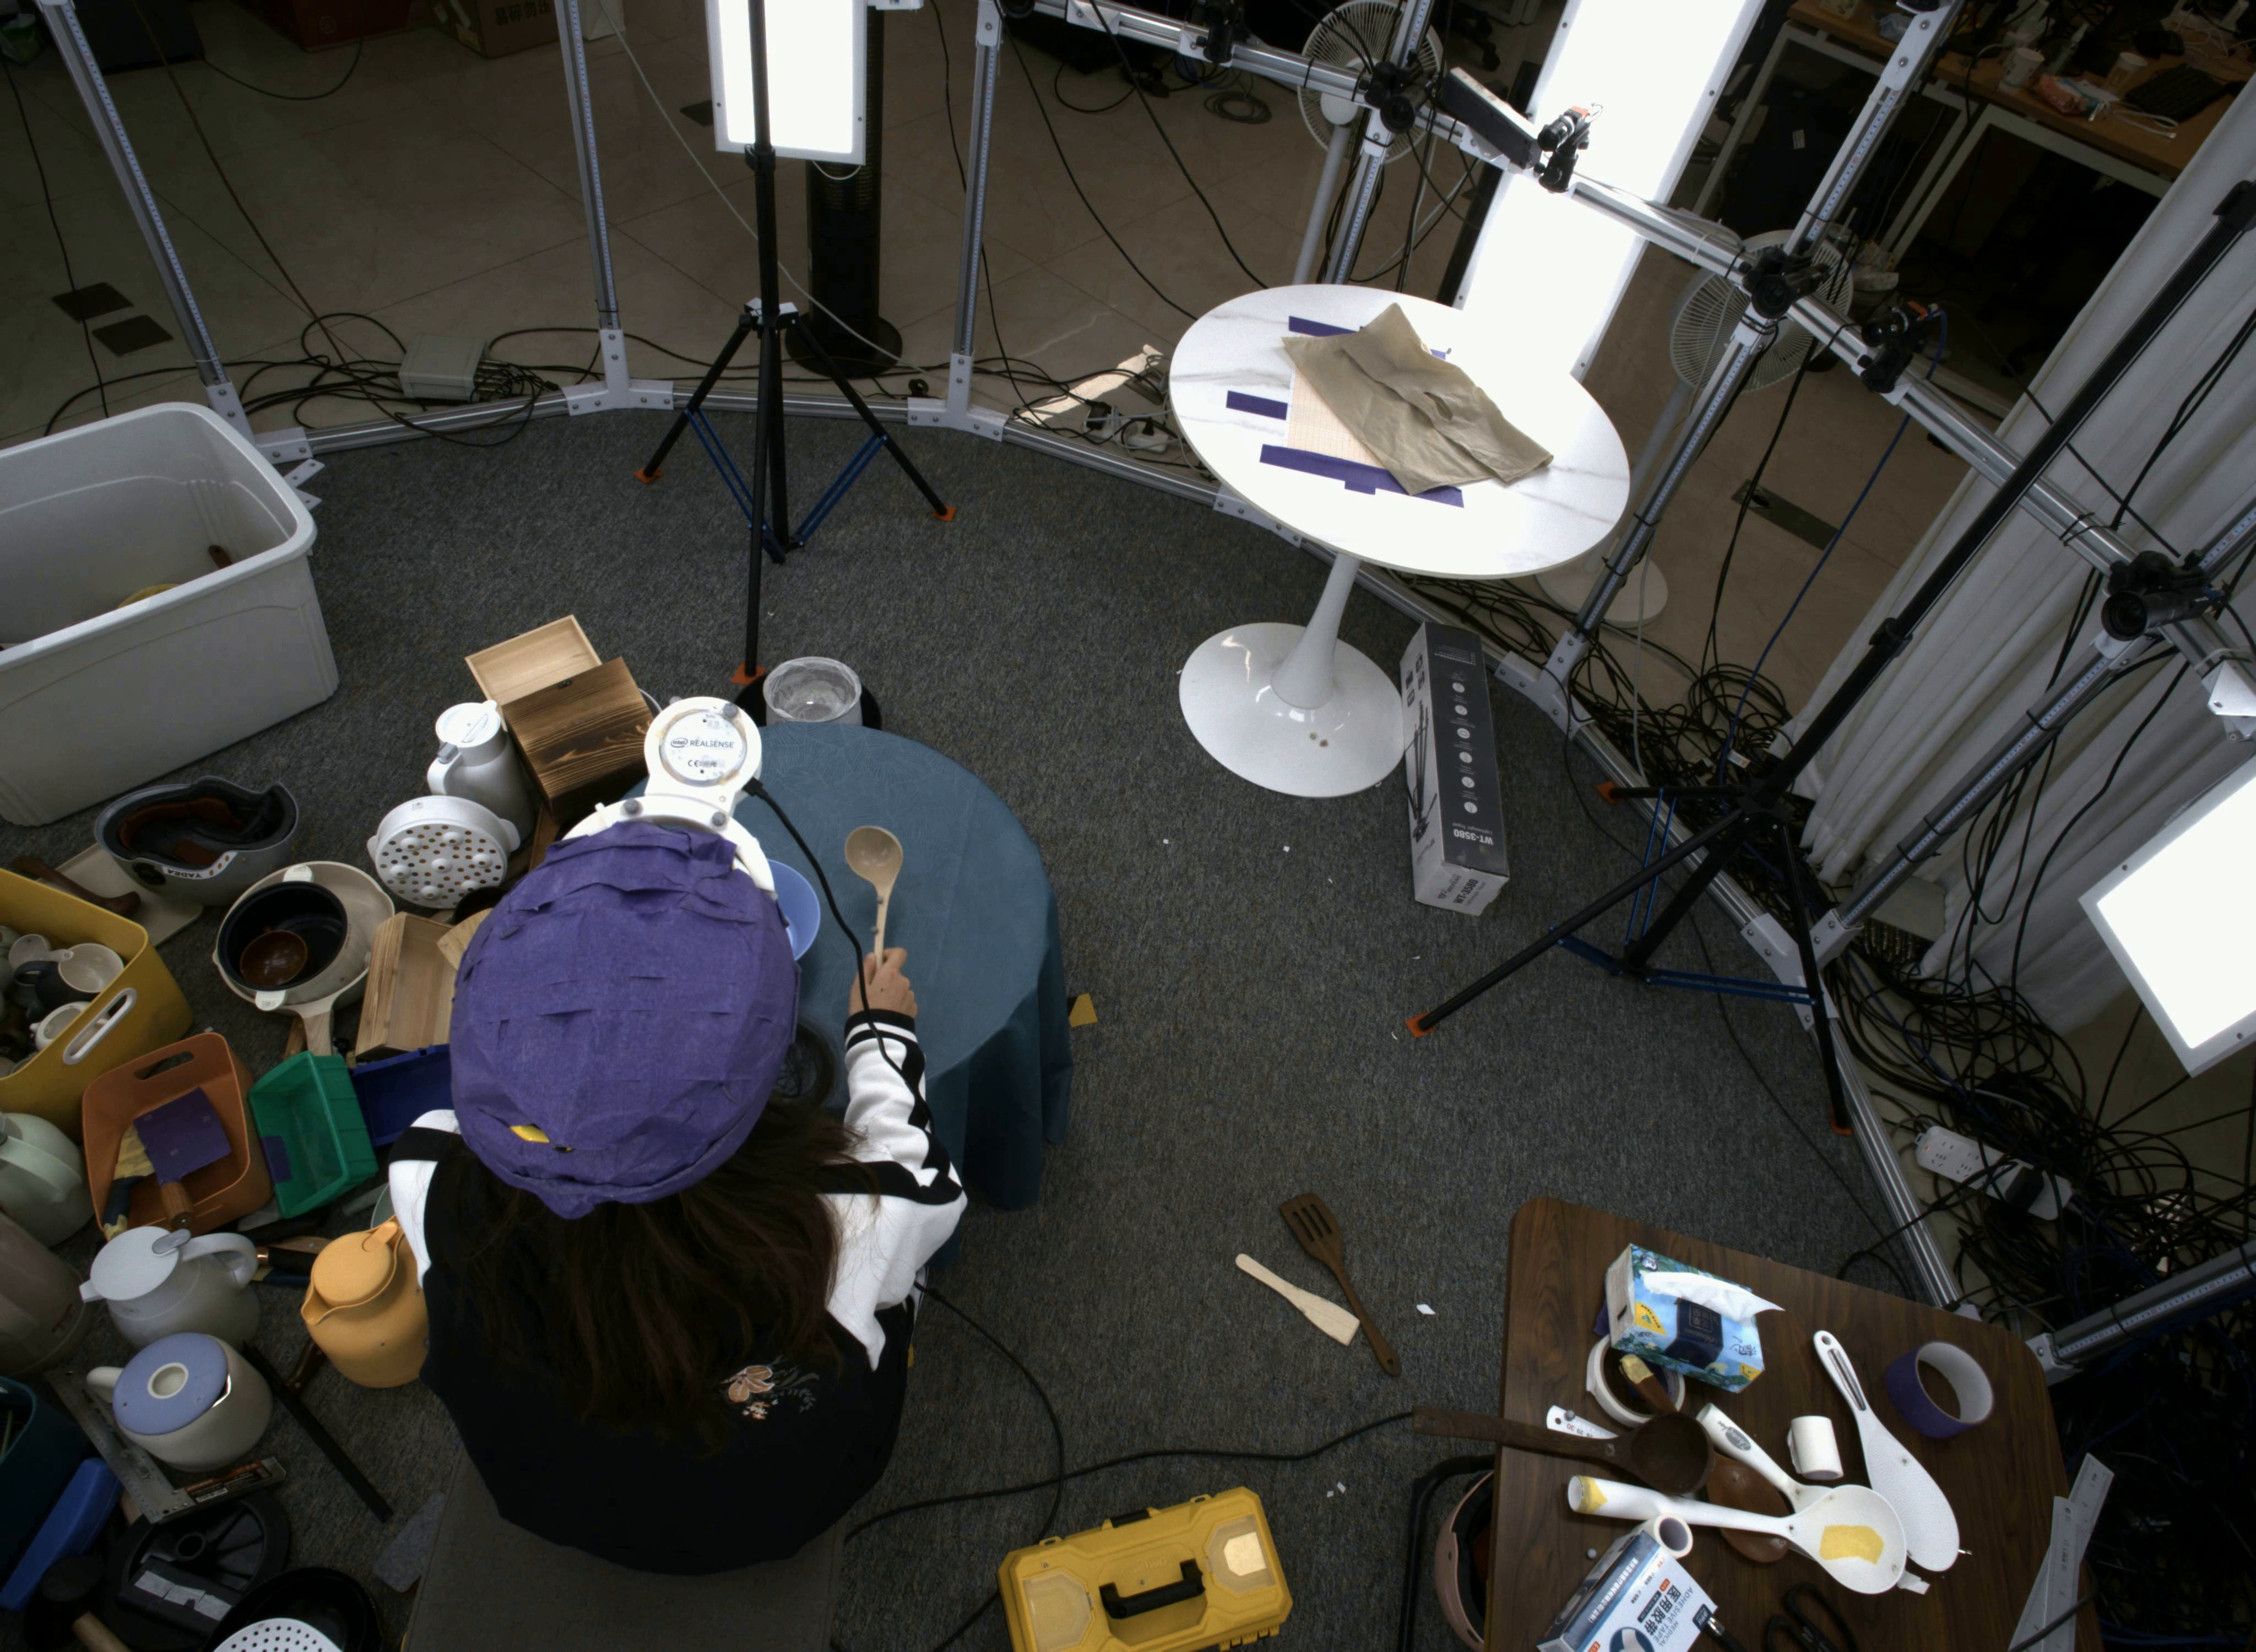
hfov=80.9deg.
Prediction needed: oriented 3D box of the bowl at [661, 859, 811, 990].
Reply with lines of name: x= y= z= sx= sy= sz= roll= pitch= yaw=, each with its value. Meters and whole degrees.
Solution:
bowl: x=-0.471 y=0.129 z=1.565 sx=0.175 sy=0.072 sz=0.173 roll=7 pitch=52 yaw=-8

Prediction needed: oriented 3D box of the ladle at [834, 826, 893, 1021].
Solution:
ladle: x=-0.316 y=0.107 z=1.548 sx=0.071 sy=0.075 sz=0.248 roll=-18 pitch=49 yaw=9
